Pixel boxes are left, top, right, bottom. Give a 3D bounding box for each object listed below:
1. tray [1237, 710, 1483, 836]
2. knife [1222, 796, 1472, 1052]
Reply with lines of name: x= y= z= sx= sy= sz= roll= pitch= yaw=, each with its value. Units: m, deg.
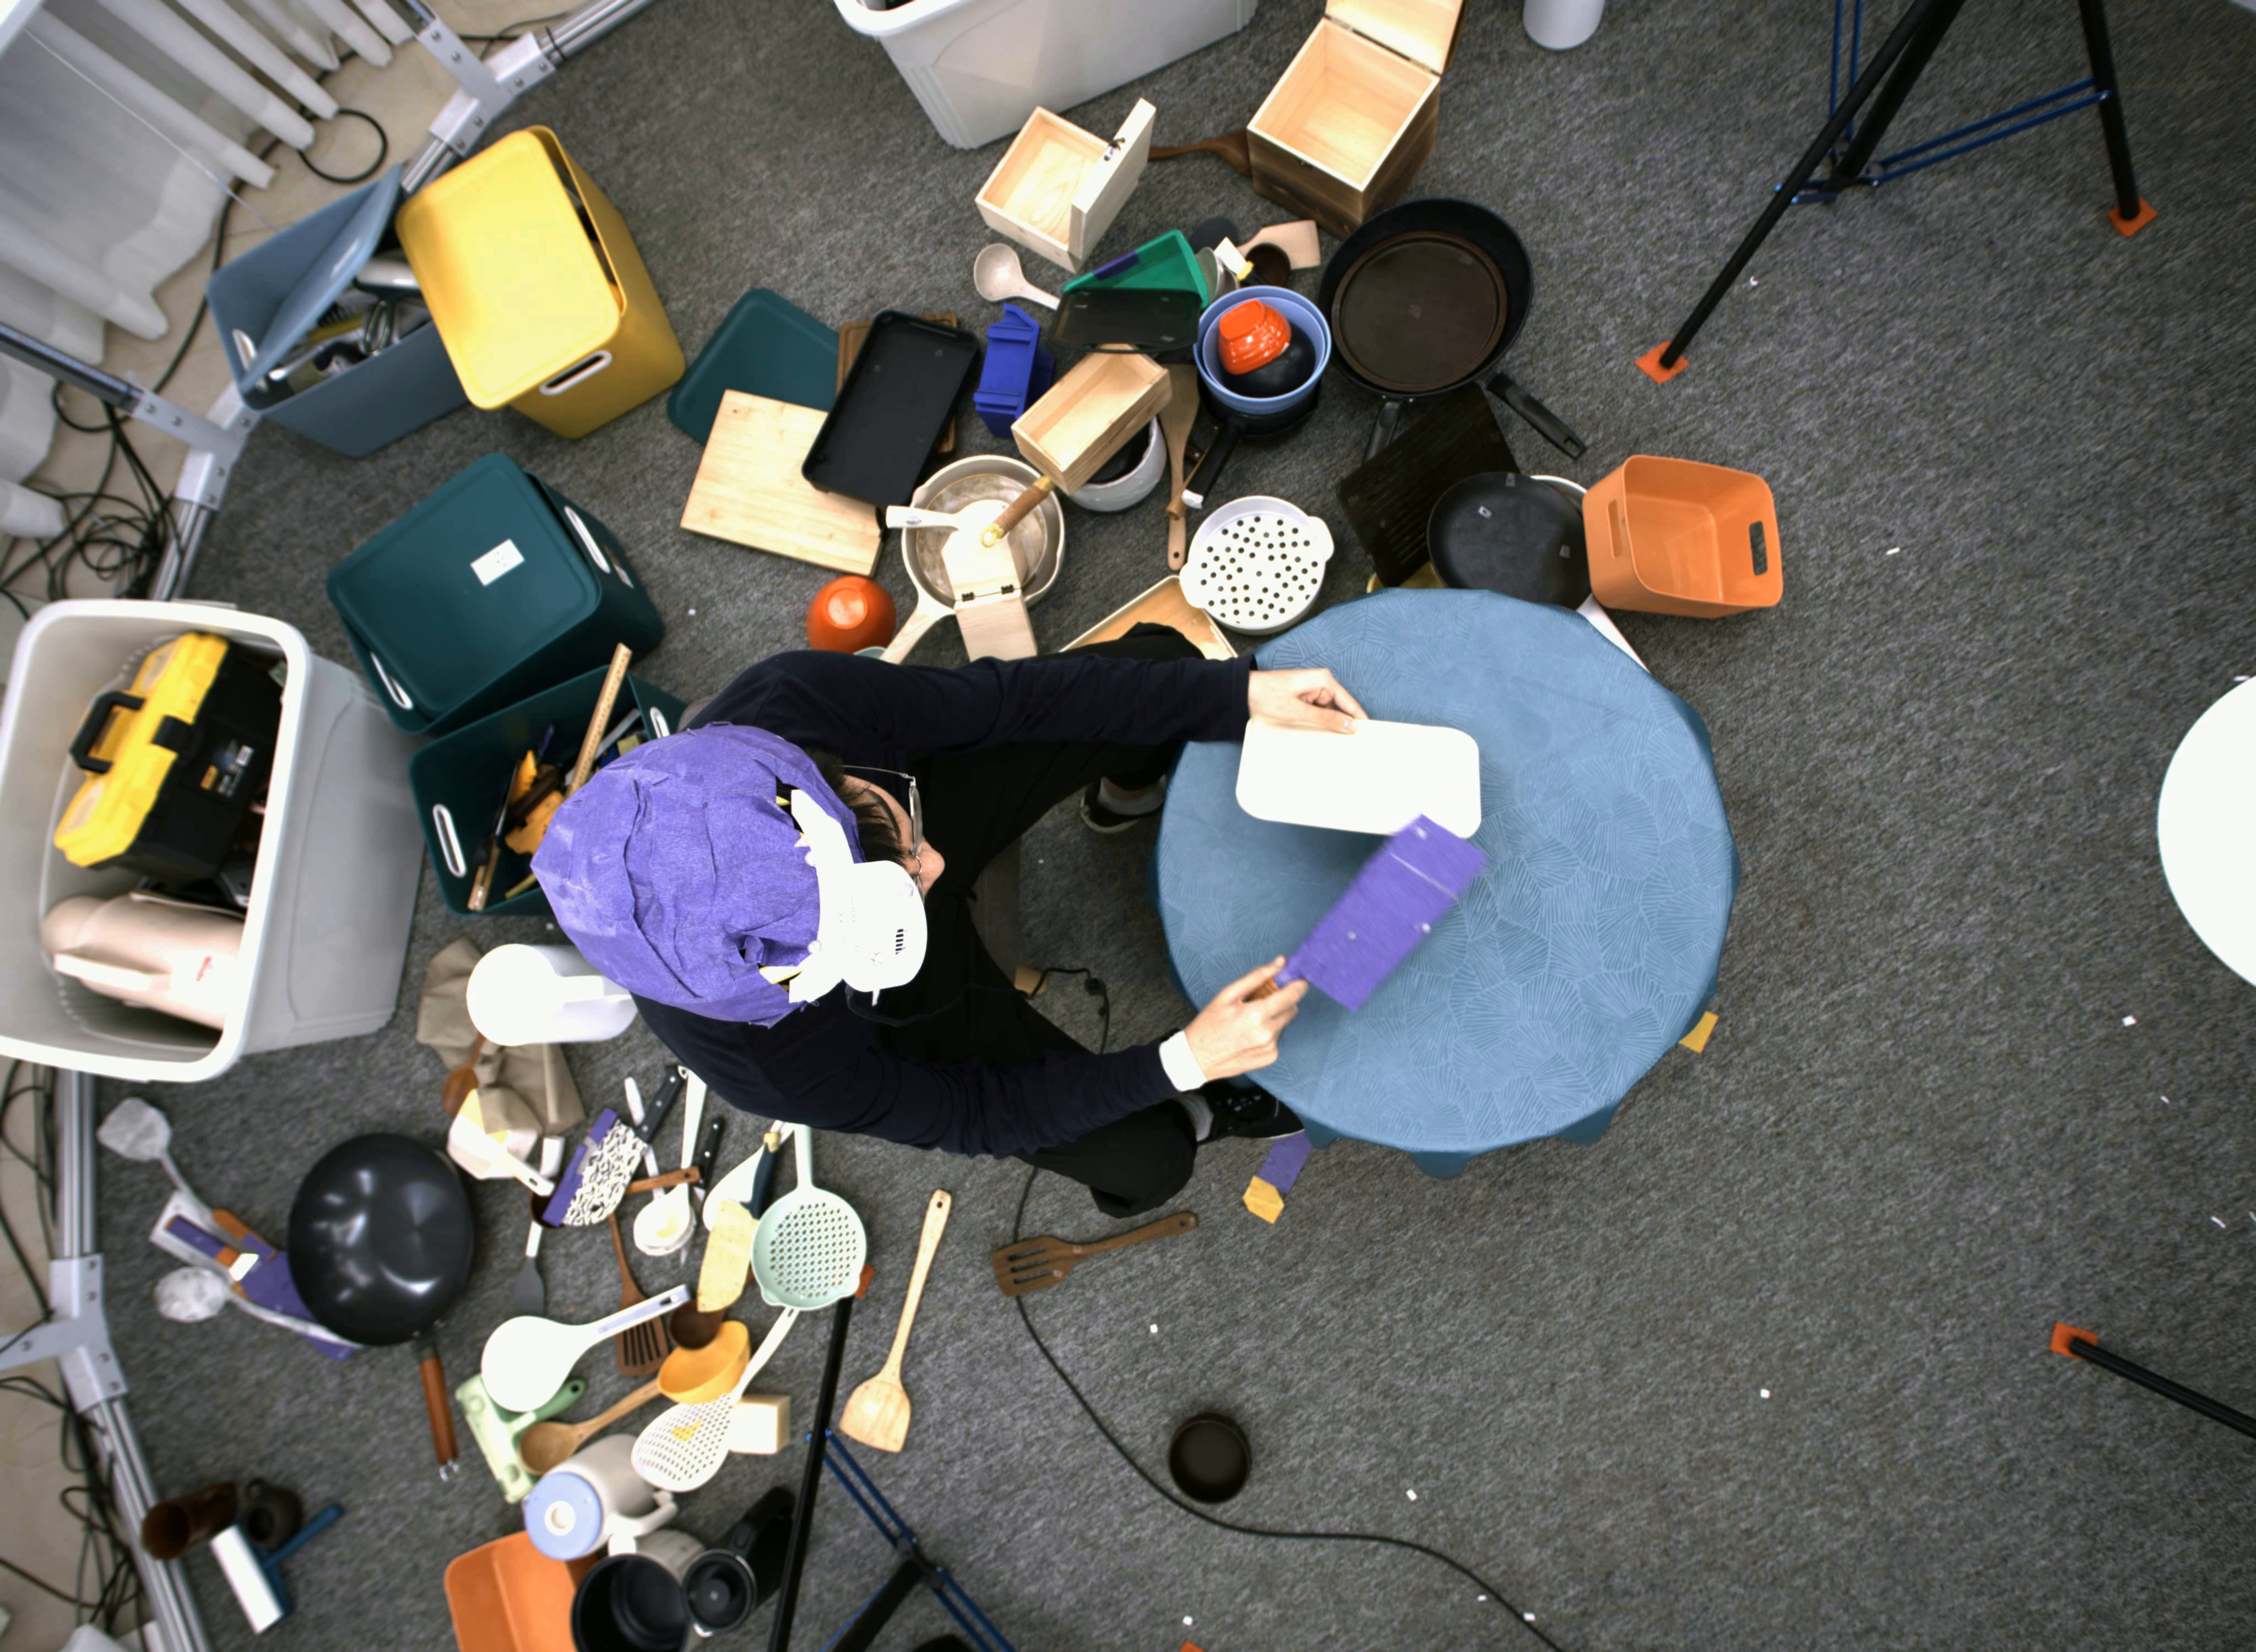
tray: x=0.233 y=-0.053 z=1.383 sx=0.240 sy=0.166 sz=0.018 roll=6 pitch=133 yaw=7
knife: x=0.215 y=0.116 z=1.357 sx=0.104 sy=0.031 sz=0.321 roll=31 pitch=114 yaw=-9
